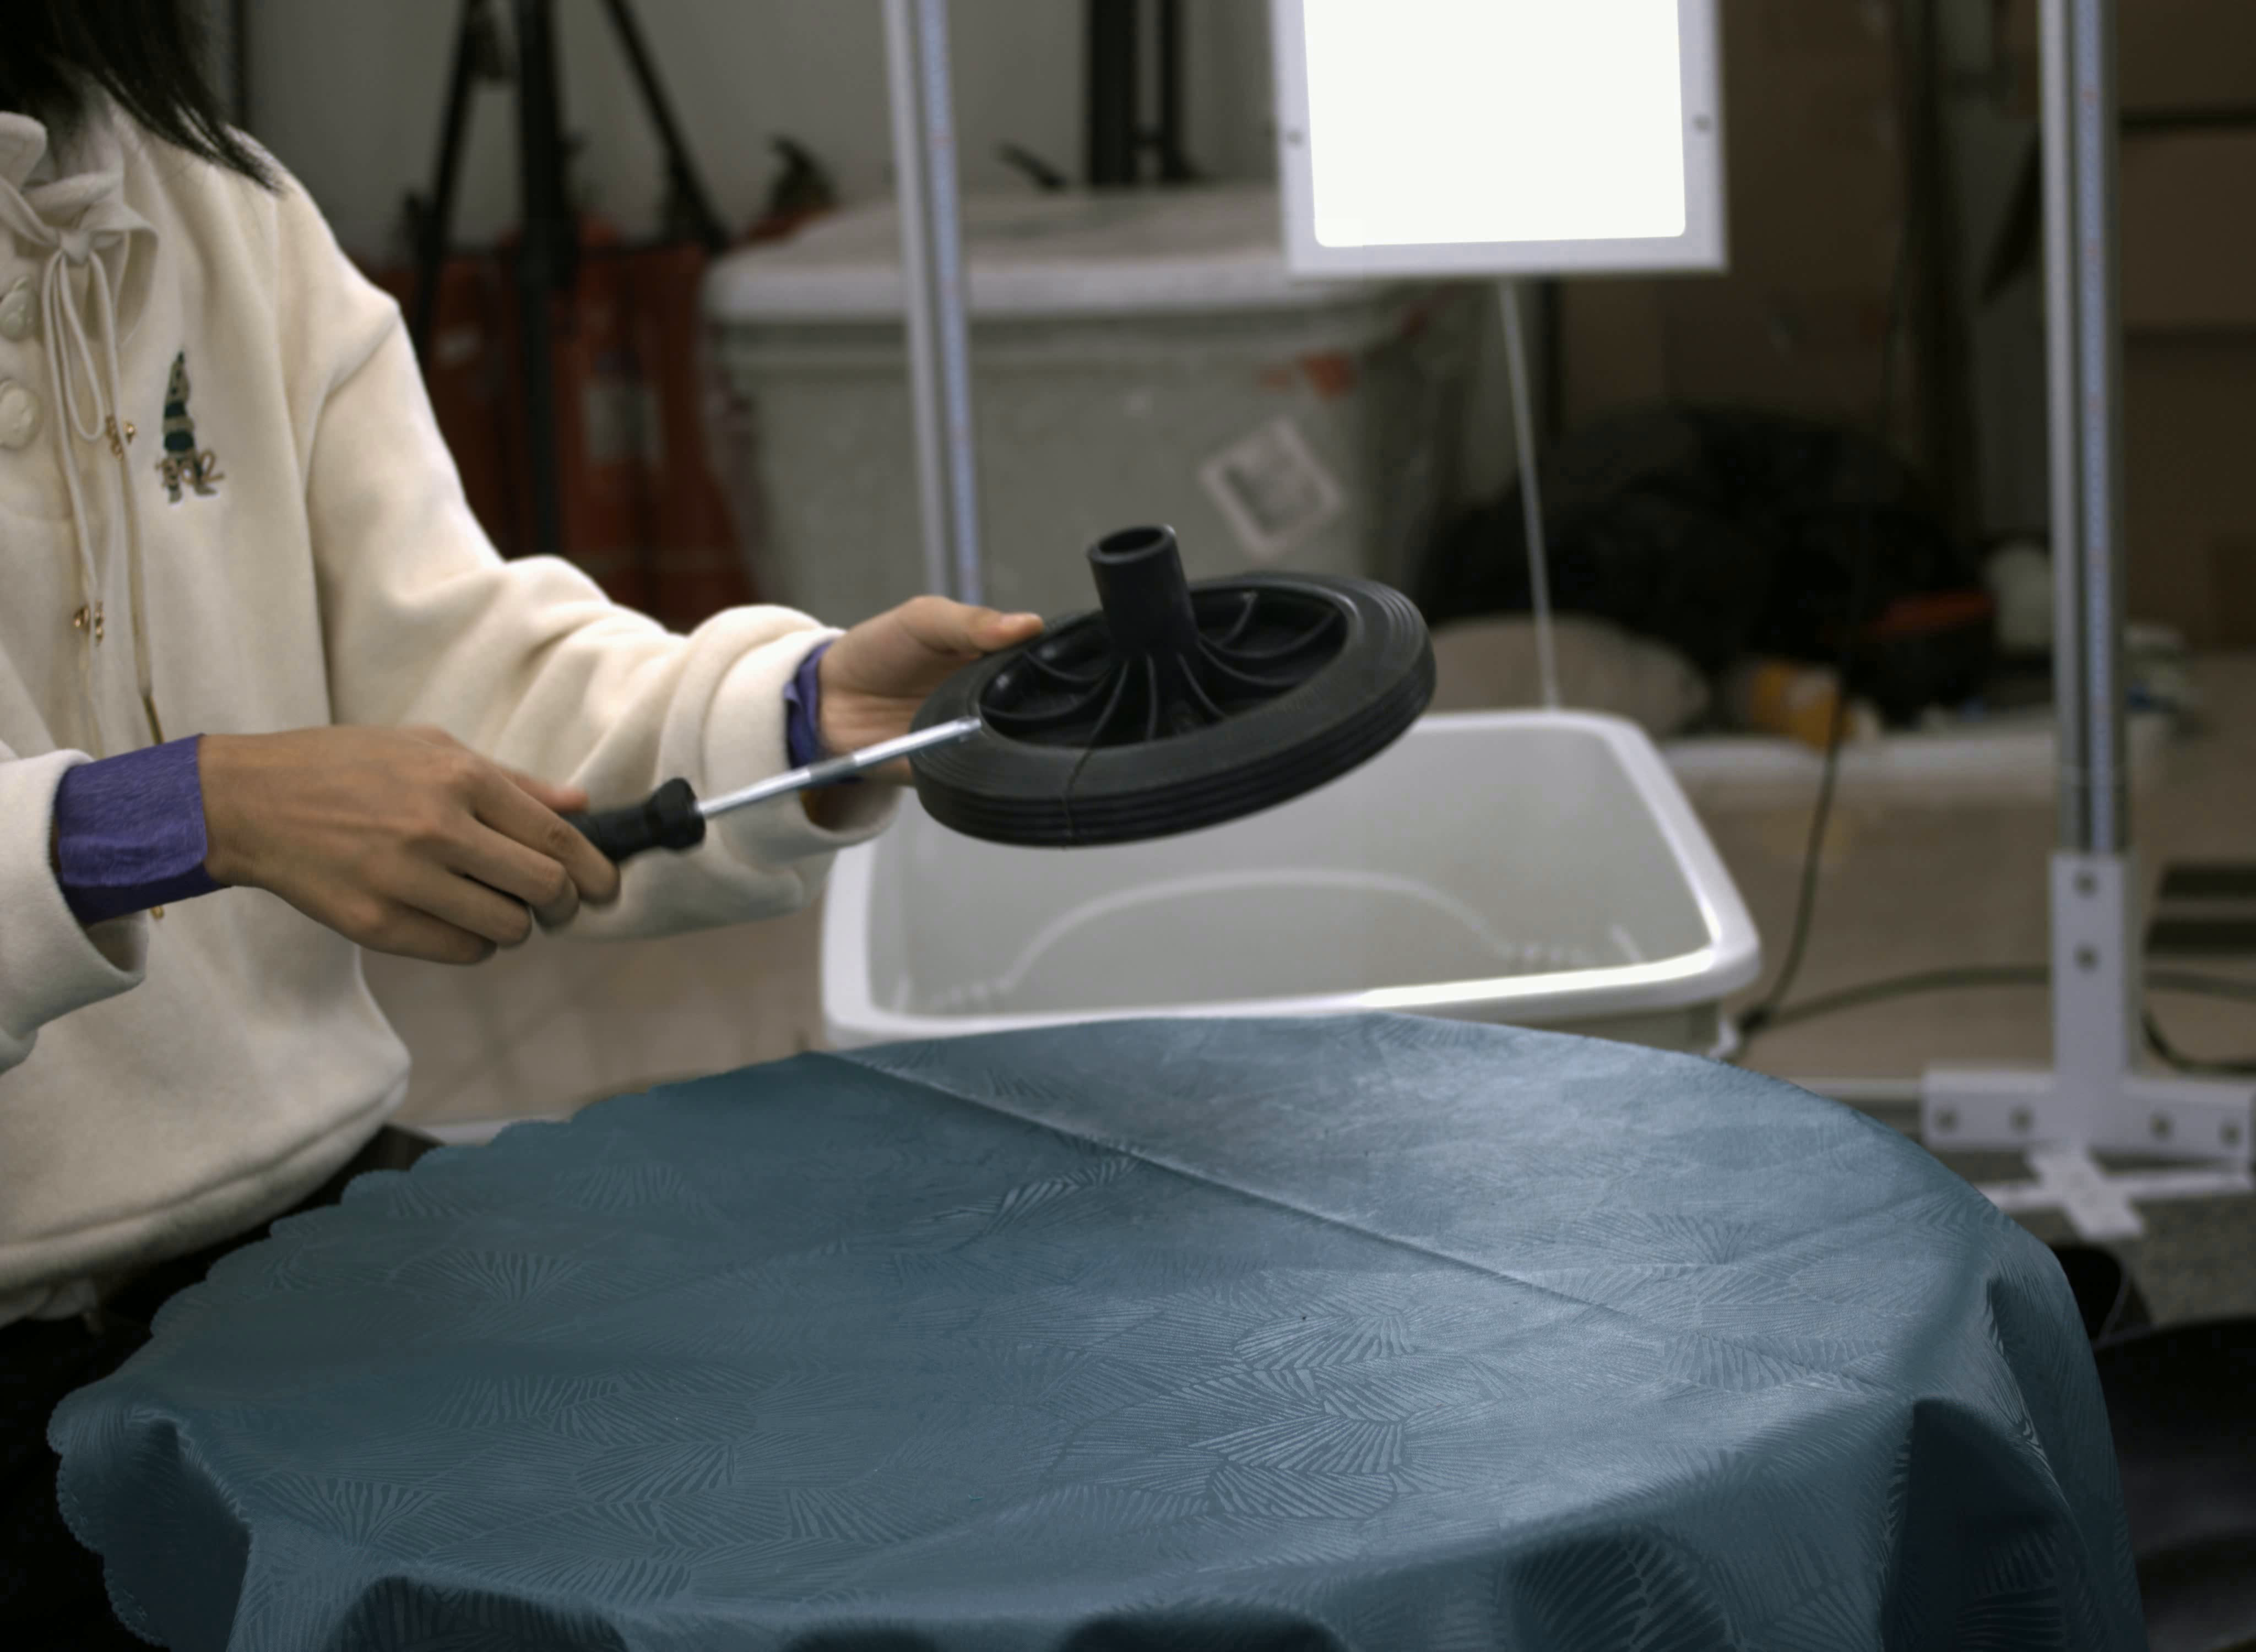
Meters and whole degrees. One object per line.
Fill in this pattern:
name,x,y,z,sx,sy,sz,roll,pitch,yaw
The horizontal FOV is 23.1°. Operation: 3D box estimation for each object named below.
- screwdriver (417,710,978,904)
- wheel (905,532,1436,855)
screwdriver,-0.143,-0.013,1.823,0.197,0.031,0.031,-19,11,12
wheel,0.010,-0.060,1.915,0.184,0.079,0.193,-26,26,-23
